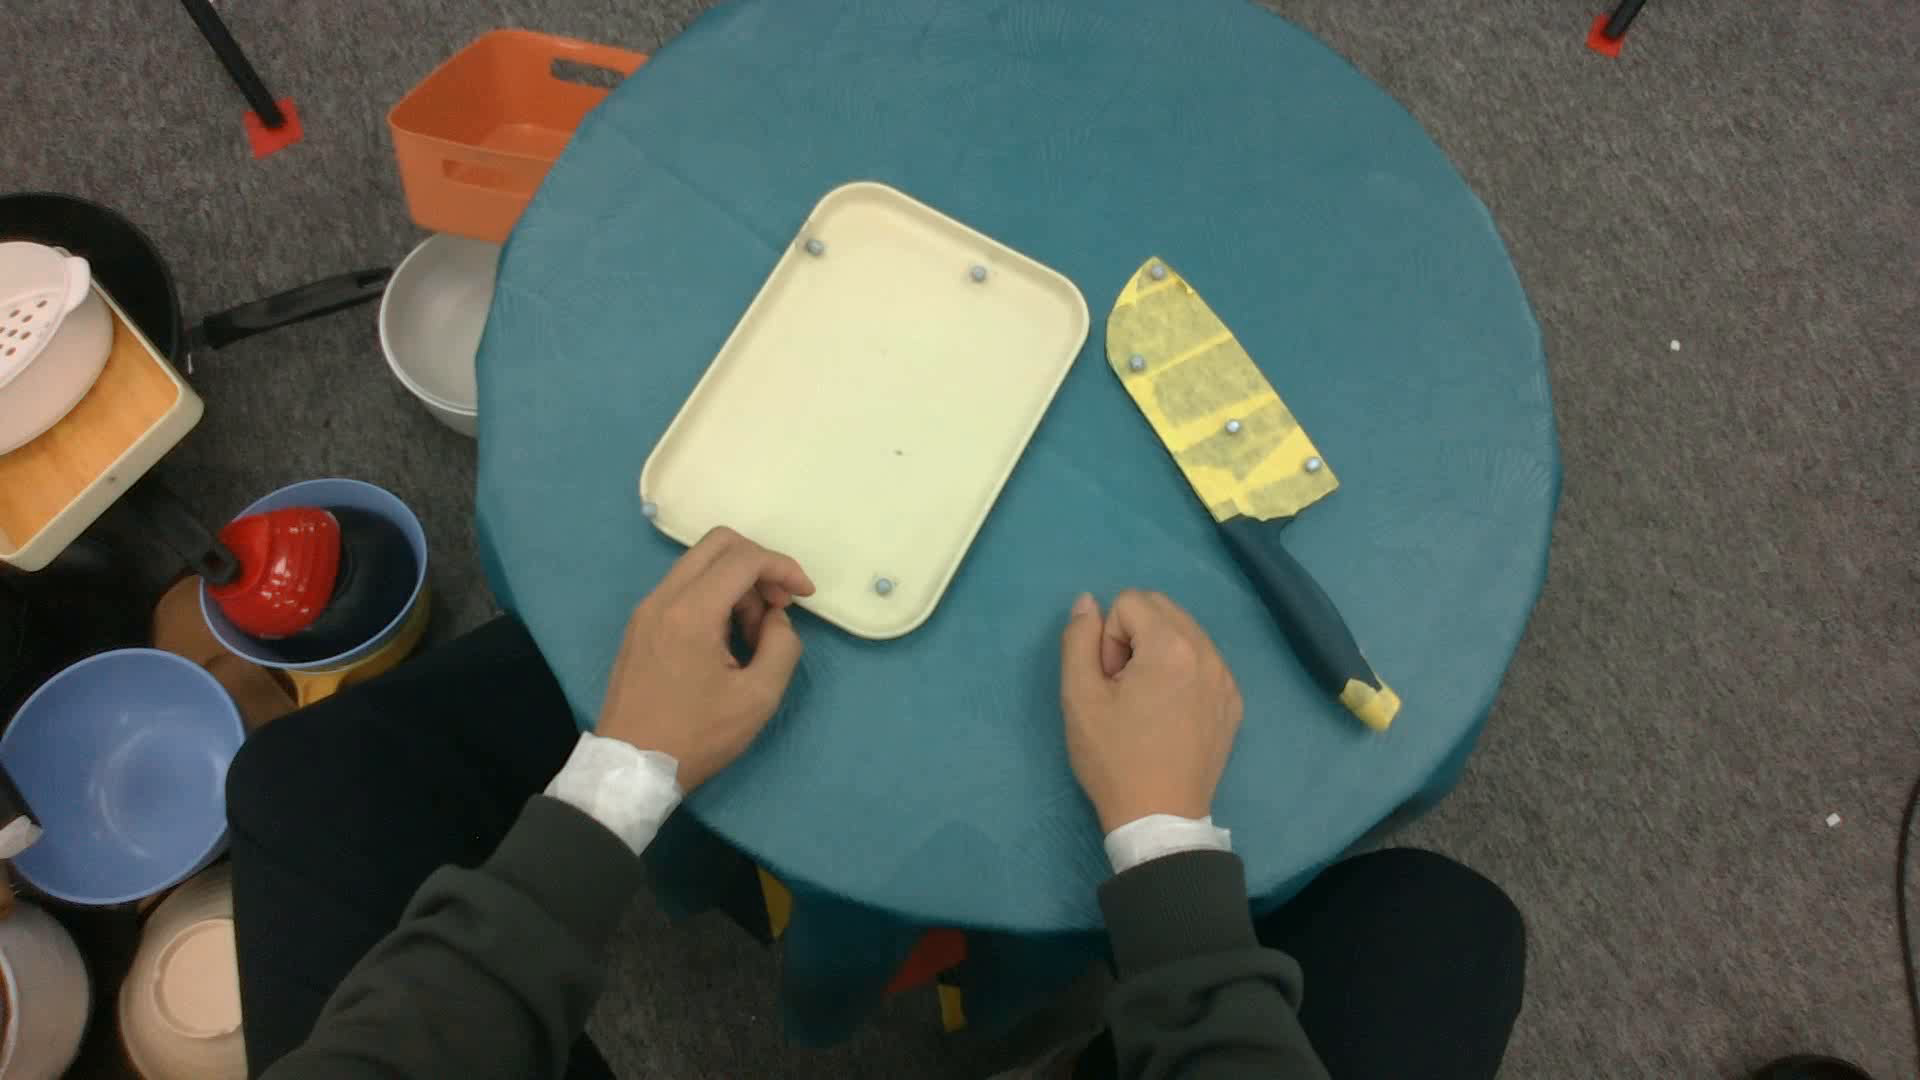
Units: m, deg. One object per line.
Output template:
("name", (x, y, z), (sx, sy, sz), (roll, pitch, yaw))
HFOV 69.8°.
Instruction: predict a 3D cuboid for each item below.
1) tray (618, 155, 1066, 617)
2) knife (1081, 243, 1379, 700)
("tray", (-0.059, -0.087, 0.742), (0.171, 0.017, 0.240), (28, 72, 3))
("knife", (0.152, -0.046, 0.751), (0.081, 0.027, 0.290), (-26, 75, -11))
